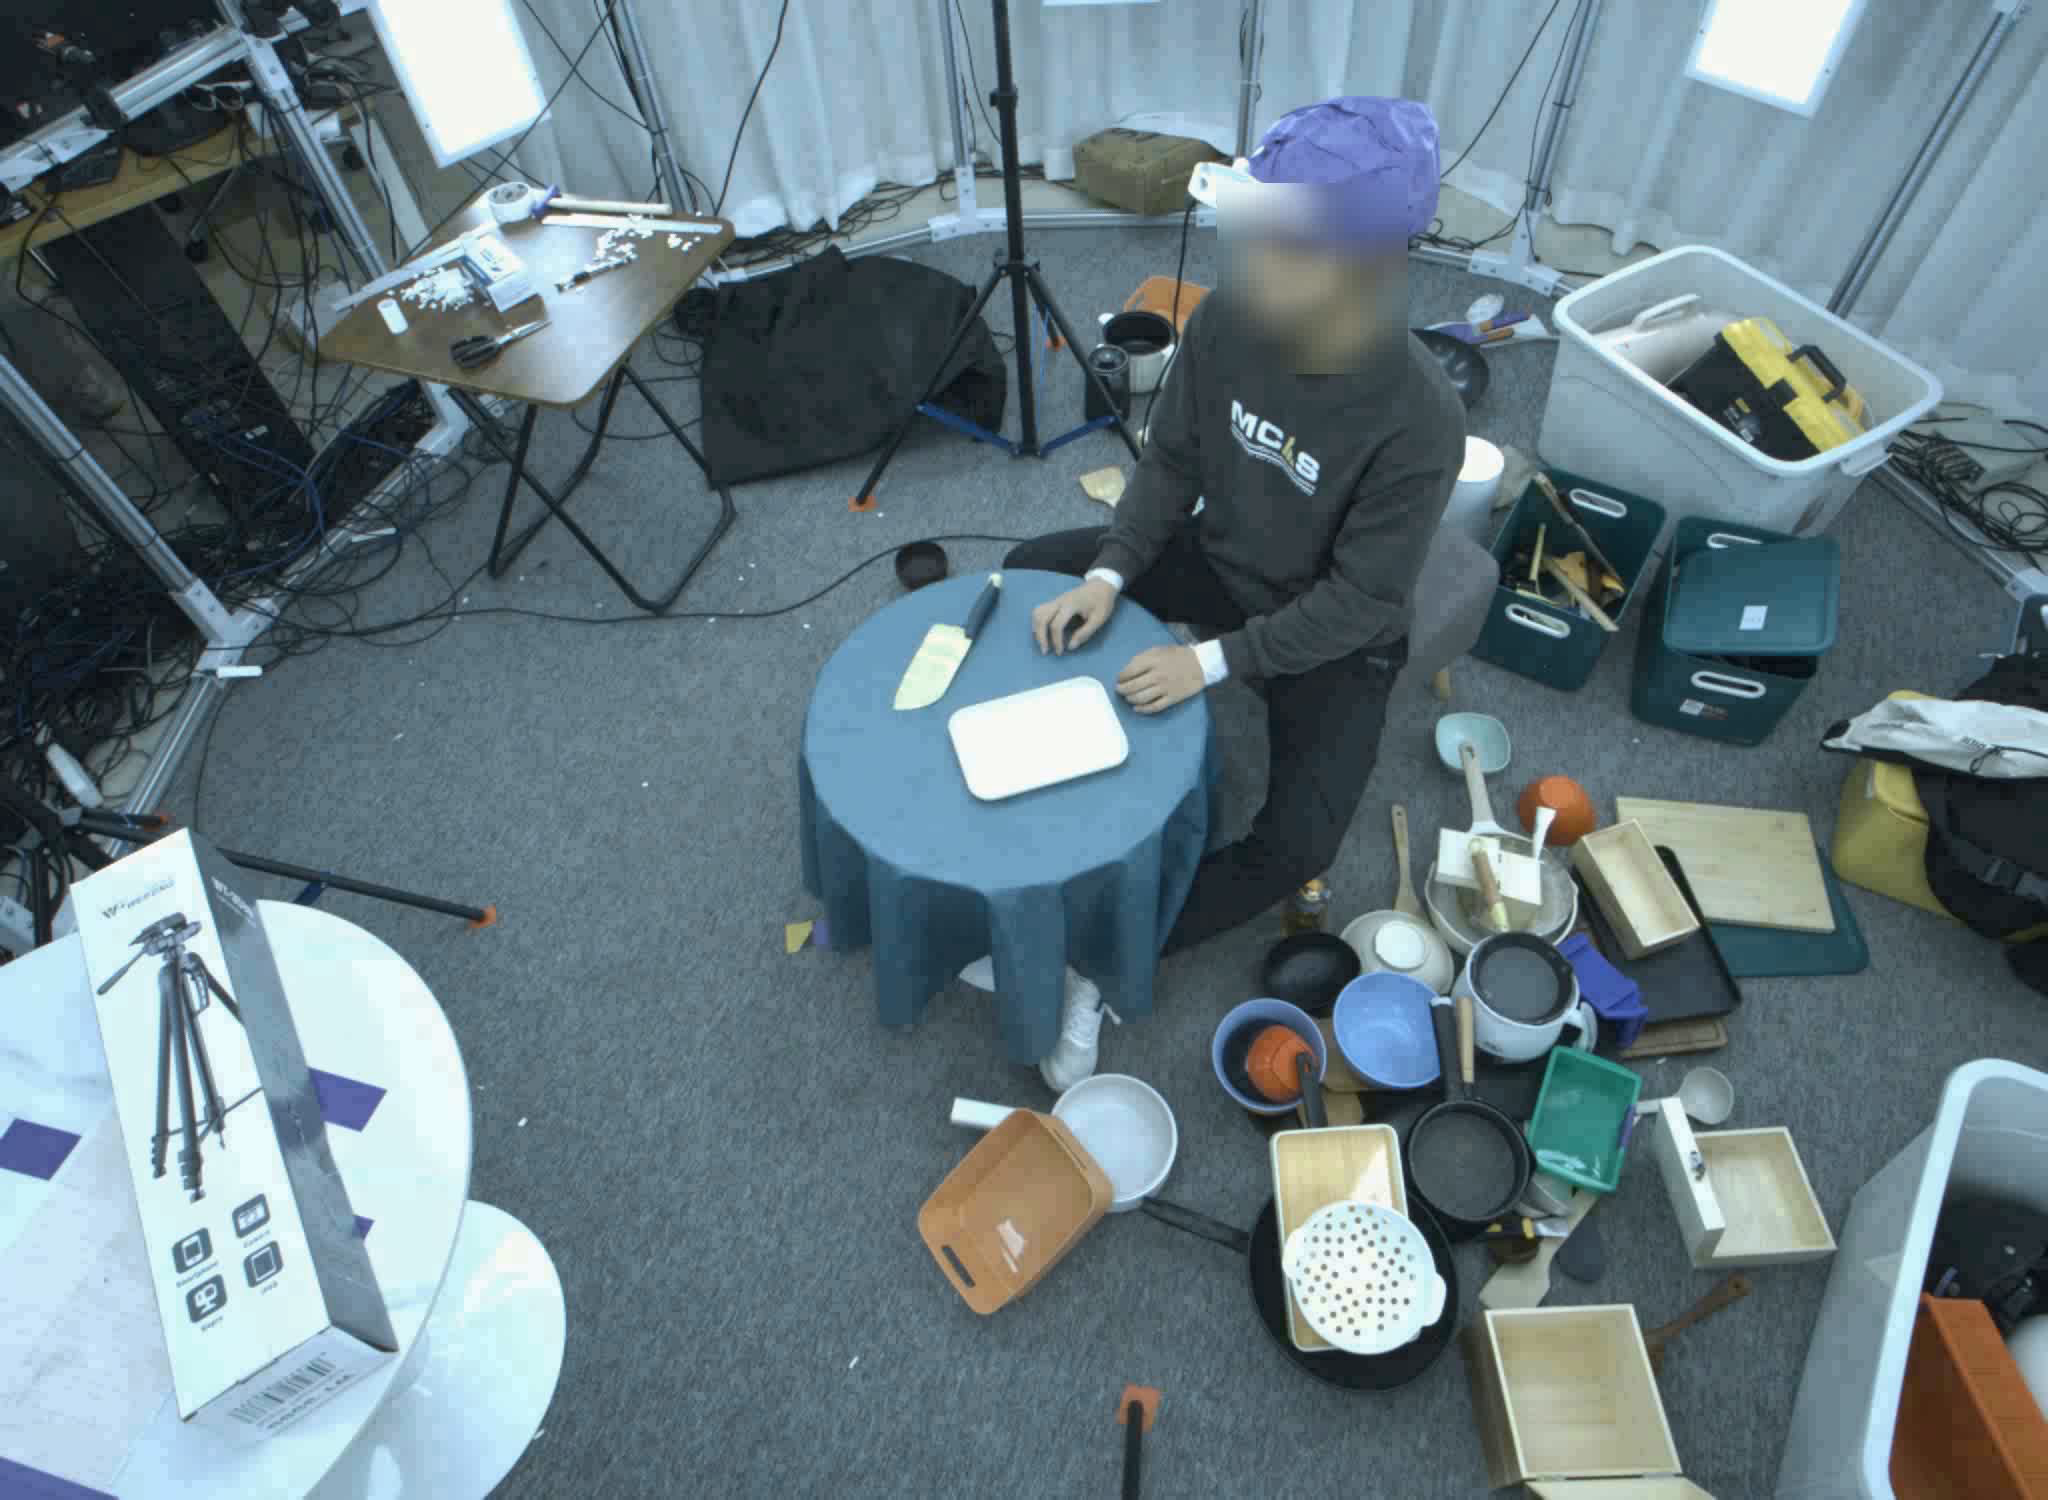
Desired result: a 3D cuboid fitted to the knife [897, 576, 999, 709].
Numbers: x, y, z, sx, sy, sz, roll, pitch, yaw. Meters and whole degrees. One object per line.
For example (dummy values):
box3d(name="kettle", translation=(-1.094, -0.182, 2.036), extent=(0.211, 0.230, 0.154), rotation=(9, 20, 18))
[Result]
box3d(name="knife", translation=(-0.116, -0.171, 1.911), extent=(0.080, 0.027, 0.290), rotation=(21, 59, 14))

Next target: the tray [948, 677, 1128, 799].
box3d(name="tray", translation=(0.020, -0.018, 1.796), extent=(0.241, 0.017, 0.168), rotation=(-15, 55, -9))
